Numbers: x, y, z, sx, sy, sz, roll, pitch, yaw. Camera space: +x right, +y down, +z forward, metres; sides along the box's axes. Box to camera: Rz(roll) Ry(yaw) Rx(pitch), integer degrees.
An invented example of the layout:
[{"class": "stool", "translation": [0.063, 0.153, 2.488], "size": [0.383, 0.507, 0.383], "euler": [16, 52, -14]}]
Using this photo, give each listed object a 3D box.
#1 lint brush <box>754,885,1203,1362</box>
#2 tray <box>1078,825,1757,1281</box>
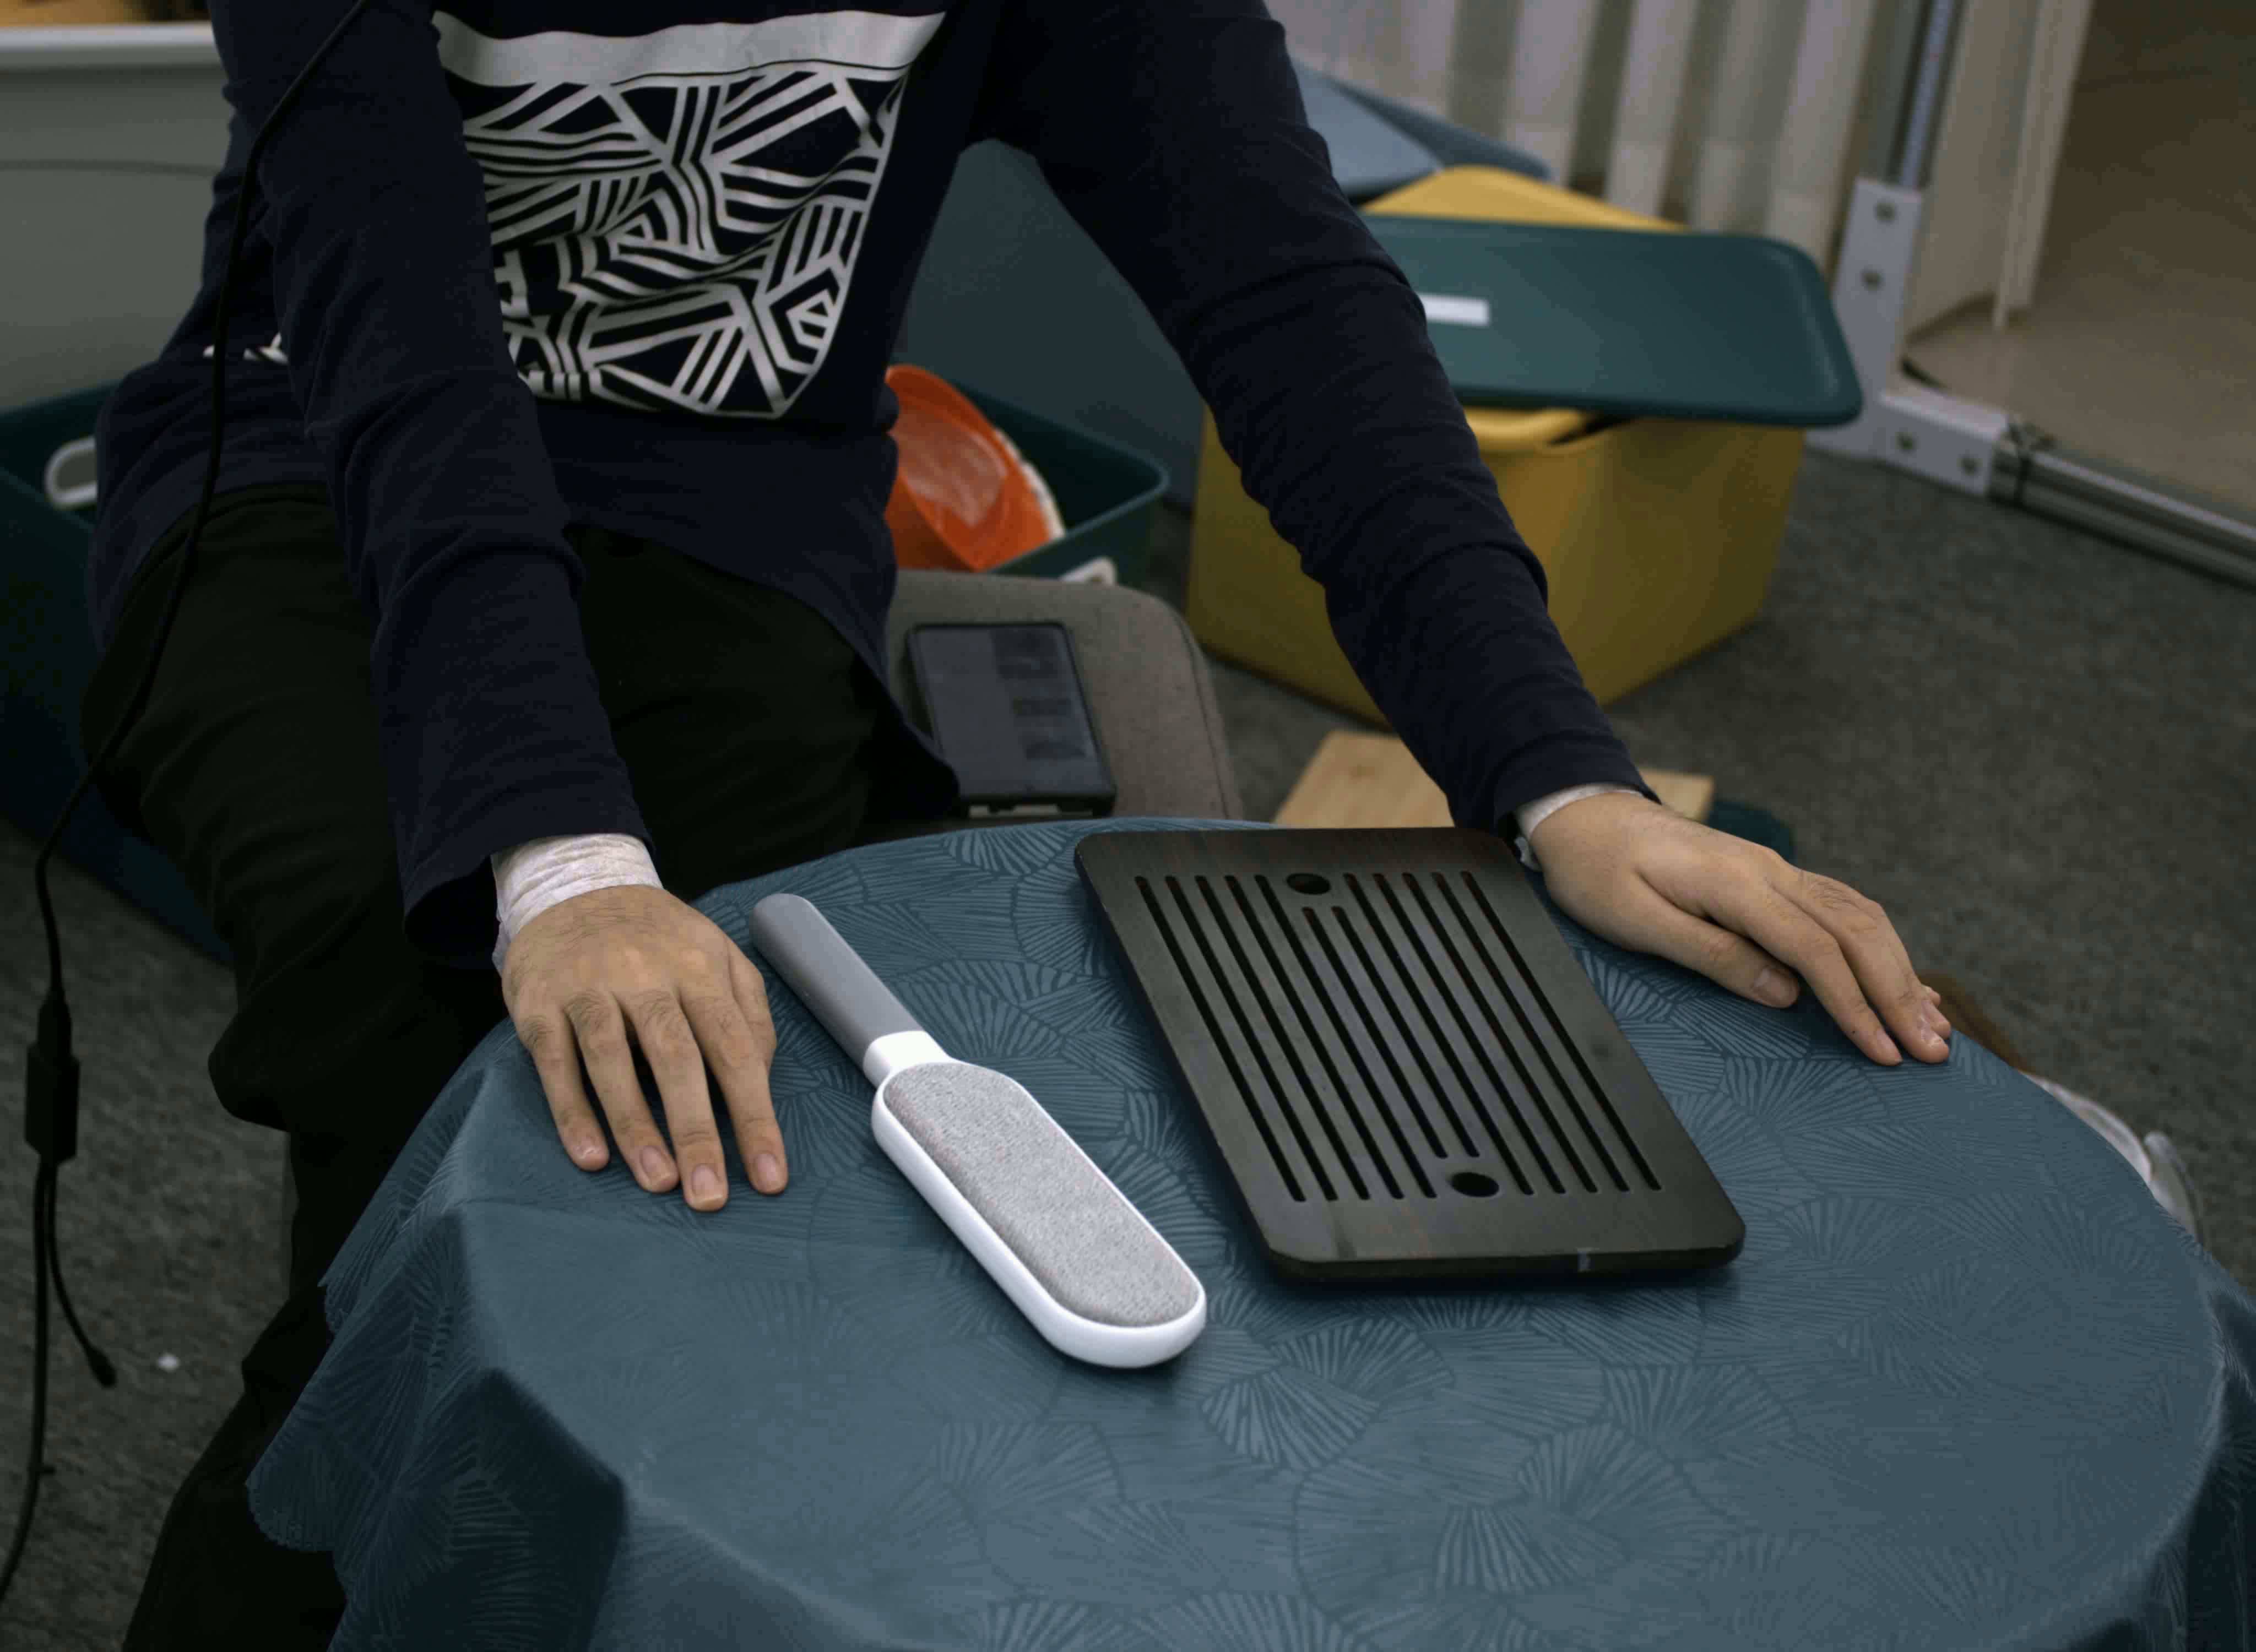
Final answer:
[{"class": "lint brush", "translation": [-0.058, 0.096, 1.817], "size": [0.060, 0.021, 0.312], "euler": [-12, 32, -23]}, {"class": "tray", "translation": [0.096, 0.078, 1.899], "size": [0.169, 0.018, 0.308], "euler": [-1, 27, -15]}]
